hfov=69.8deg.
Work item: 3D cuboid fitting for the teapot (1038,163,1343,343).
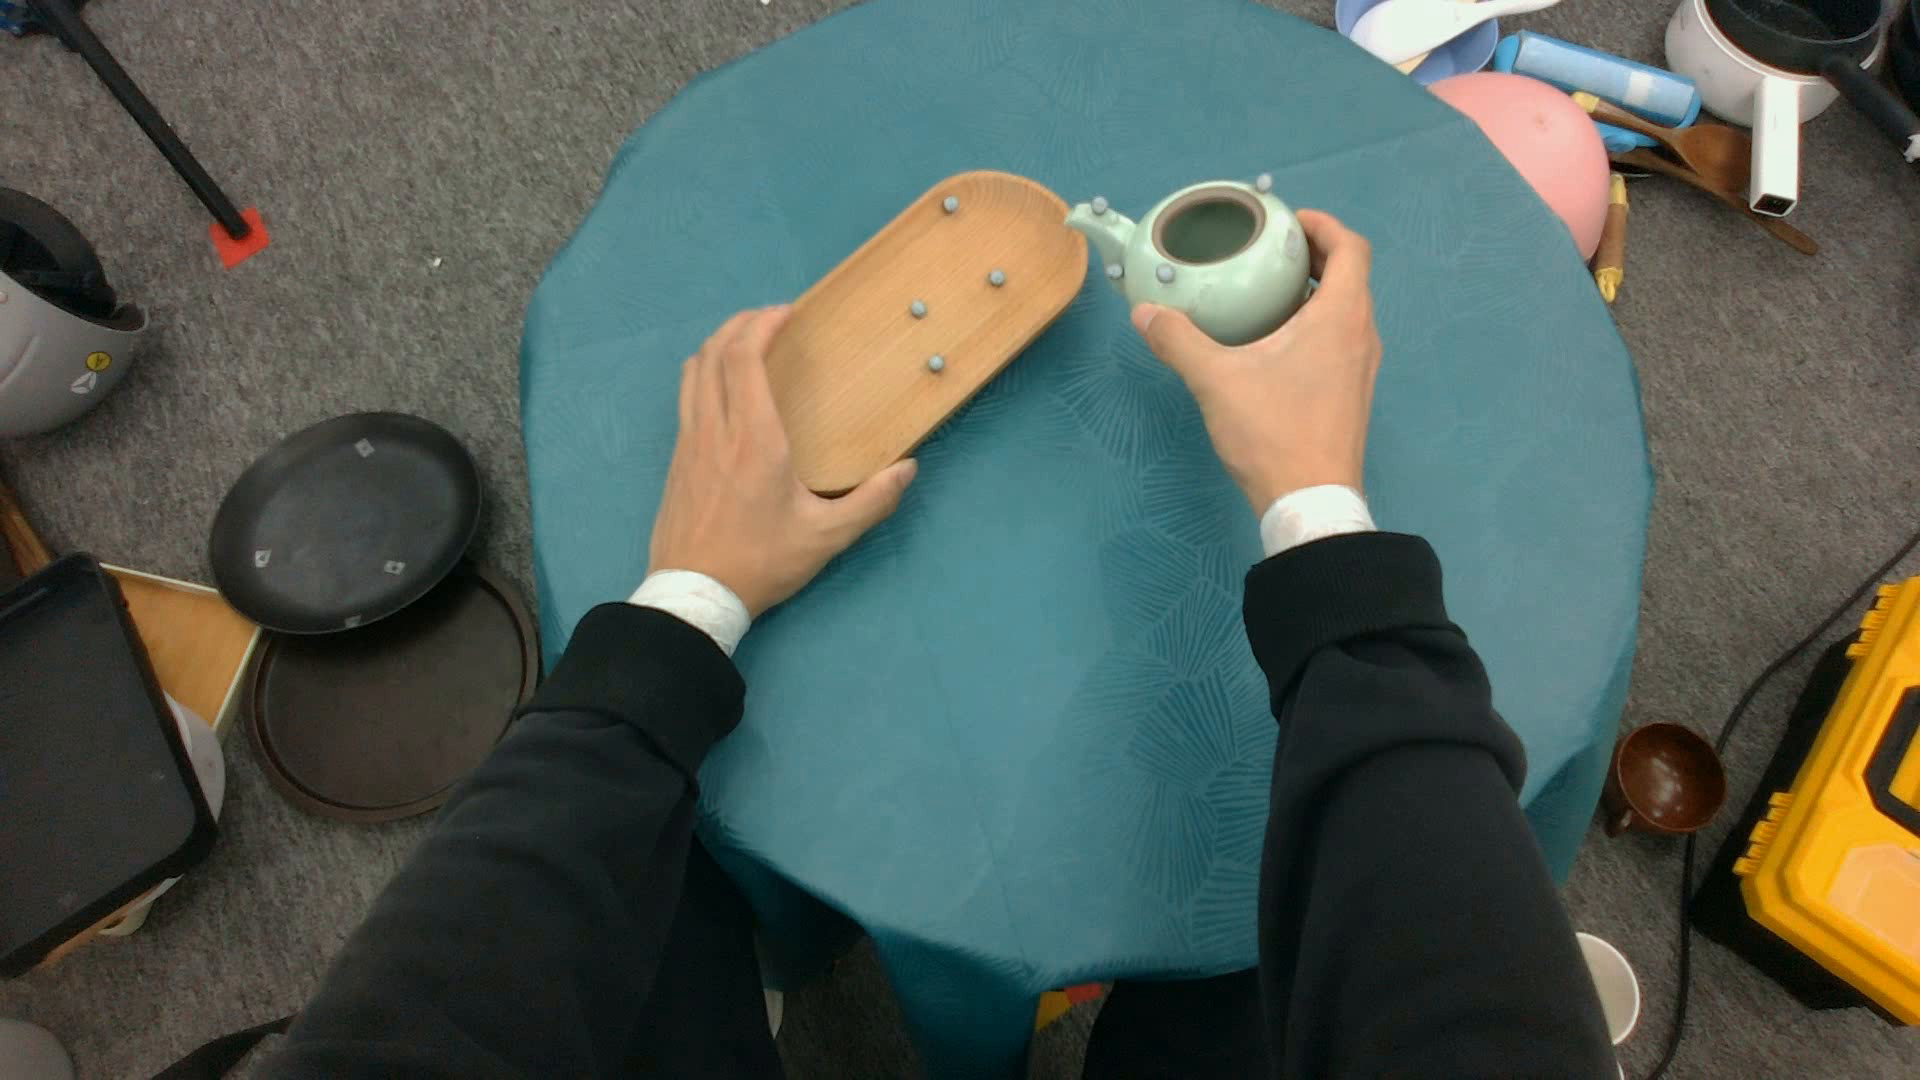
[{"bbox_3d":[0.111,-0.138,0.662,0.143,0.074,0.089,9,59,27],"label":"teapot"}]

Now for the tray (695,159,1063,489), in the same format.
[{"bbox_3d":[-0.039,-0.116,0.718,0.102,0.020,0.232,40,71,12],"label":"tray"}]
